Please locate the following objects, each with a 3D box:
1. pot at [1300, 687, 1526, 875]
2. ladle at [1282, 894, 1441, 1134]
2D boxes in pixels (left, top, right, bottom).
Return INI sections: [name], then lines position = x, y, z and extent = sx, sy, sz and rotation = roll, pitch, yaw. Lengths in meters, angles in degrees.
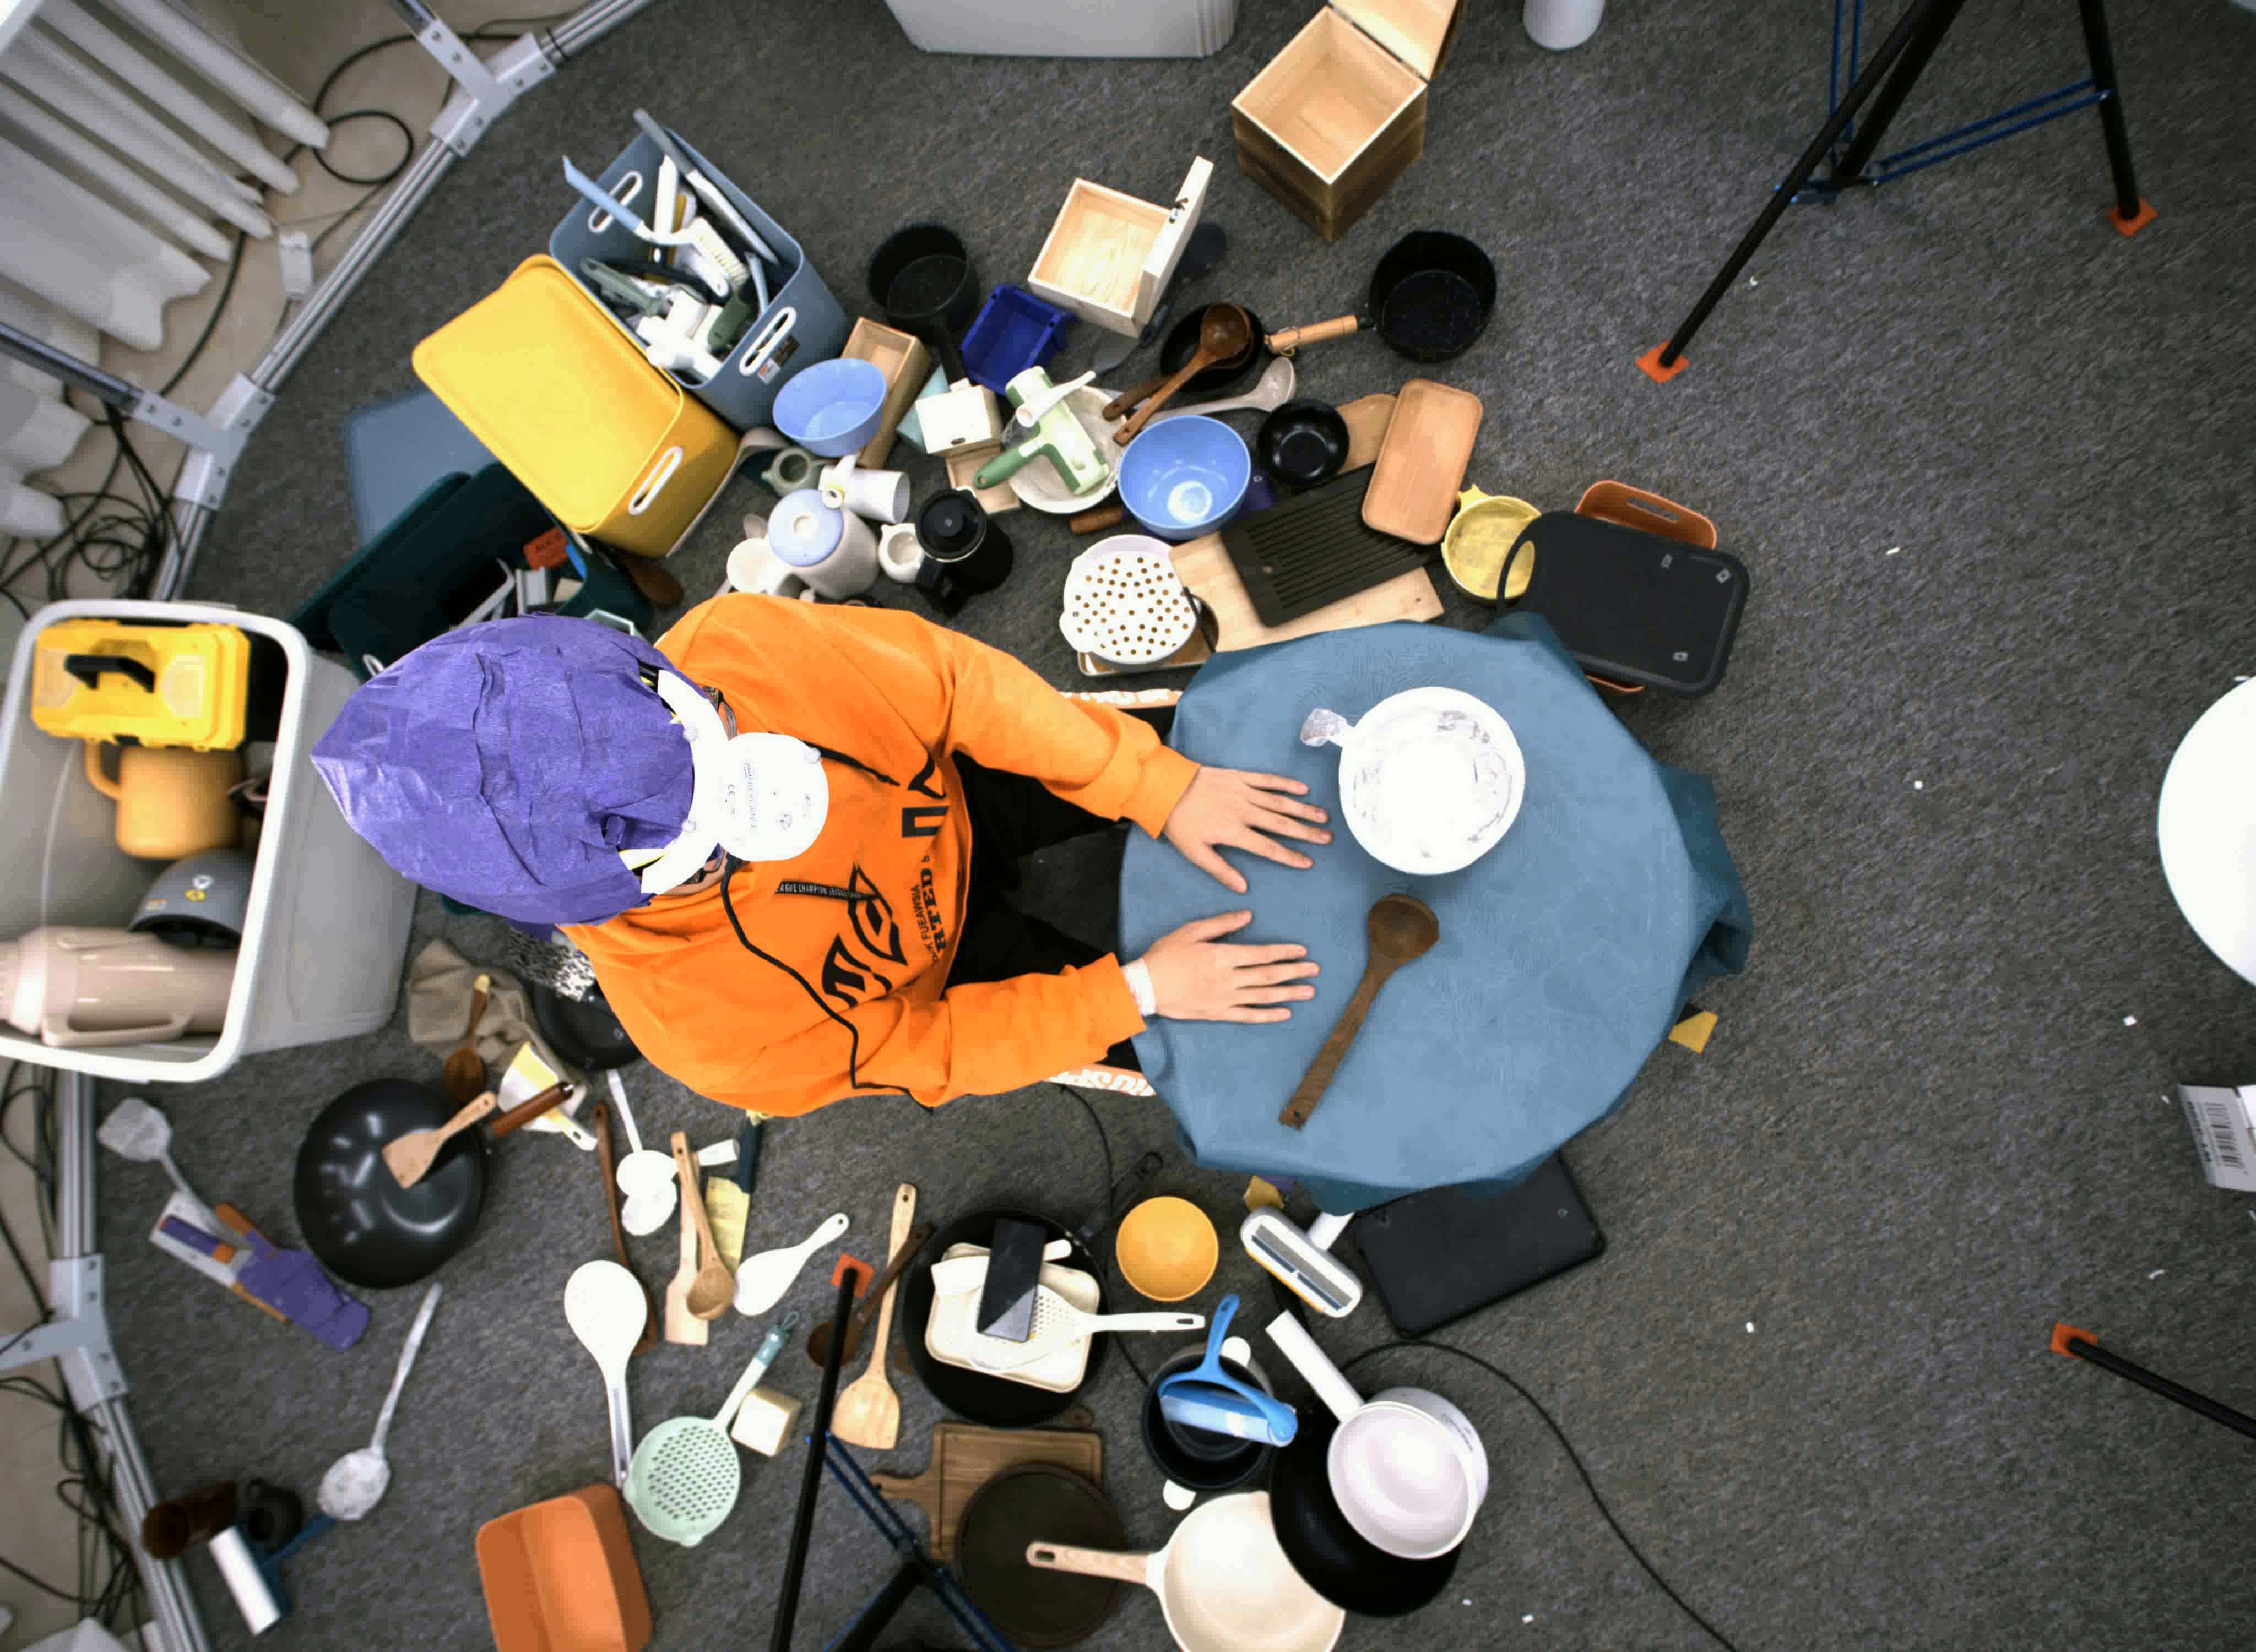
[pot]
position = 0.280, -0.055, 1.395
extent = 0.233, 0.137, 0.179
rotation = 28, 91, 10
[ladle]
position = 0.232, 0.195, 1.425
extent = 0.076, 0.071, 0.274
rotation = 30, 92, 15
